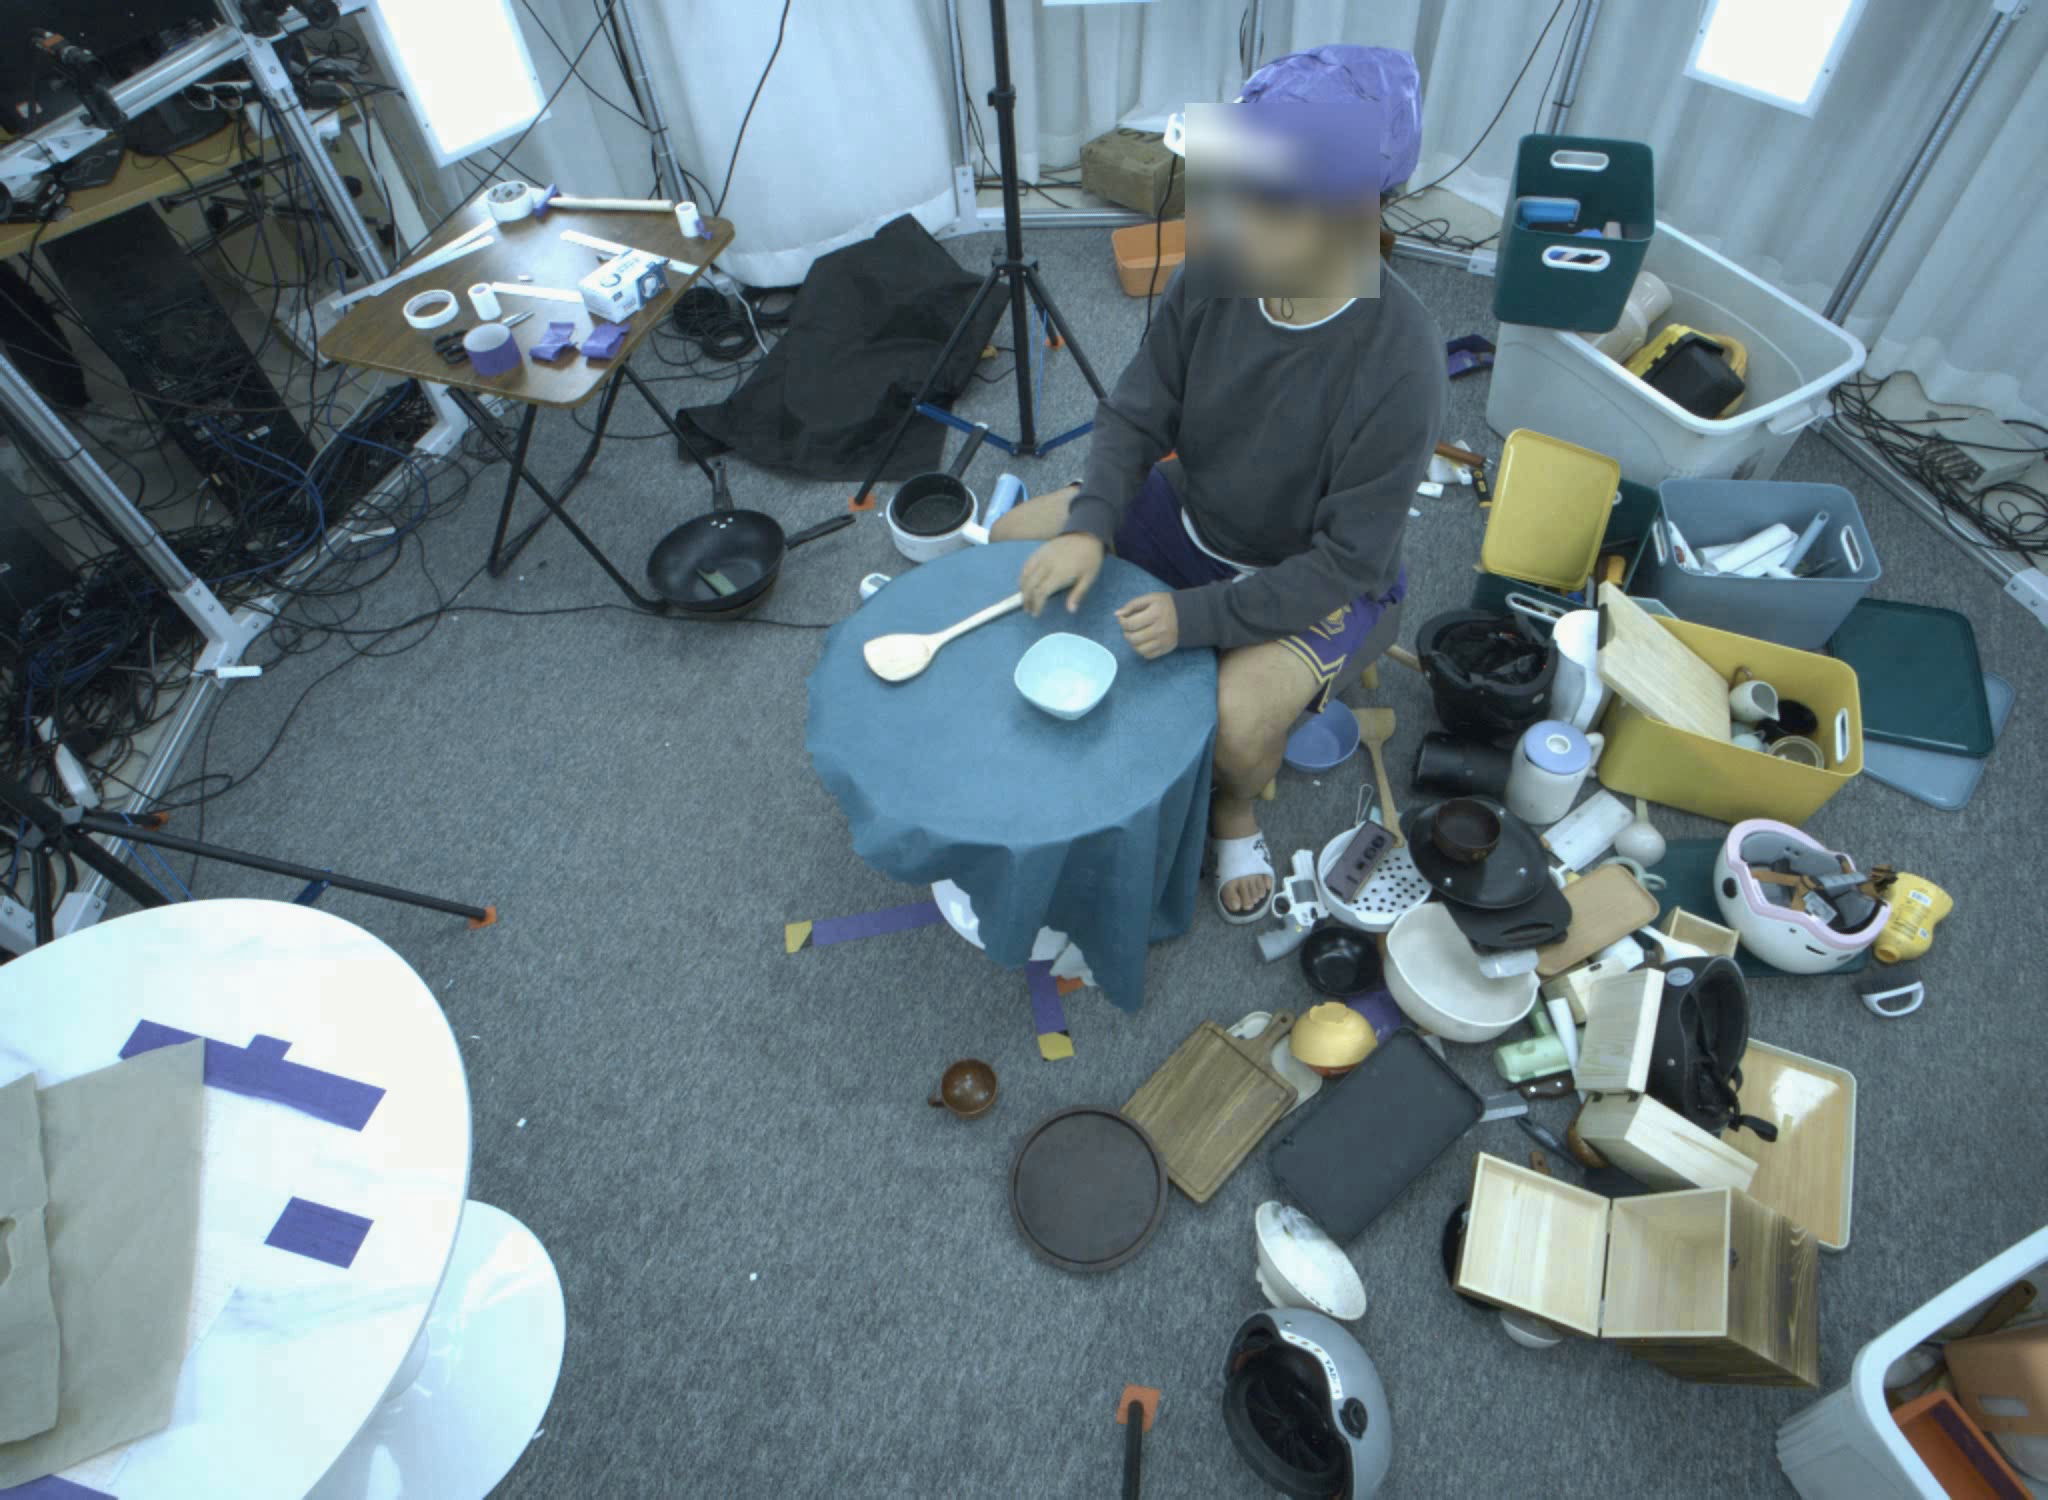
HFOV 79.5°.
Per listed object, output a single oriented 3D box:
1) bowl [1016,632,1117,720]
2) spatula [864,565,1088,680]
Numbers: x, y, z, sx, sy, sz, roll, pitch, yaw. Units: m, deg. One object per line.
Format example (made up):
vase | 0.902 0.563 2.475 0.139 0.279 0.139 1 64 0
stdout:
bowl | 0.064 -0.100 1.825 0.151 0.059 0.150 -1 56 3
spatula | -0.069 -0.214 1.933 0.394 0.018 0.094 -28 60 -16
